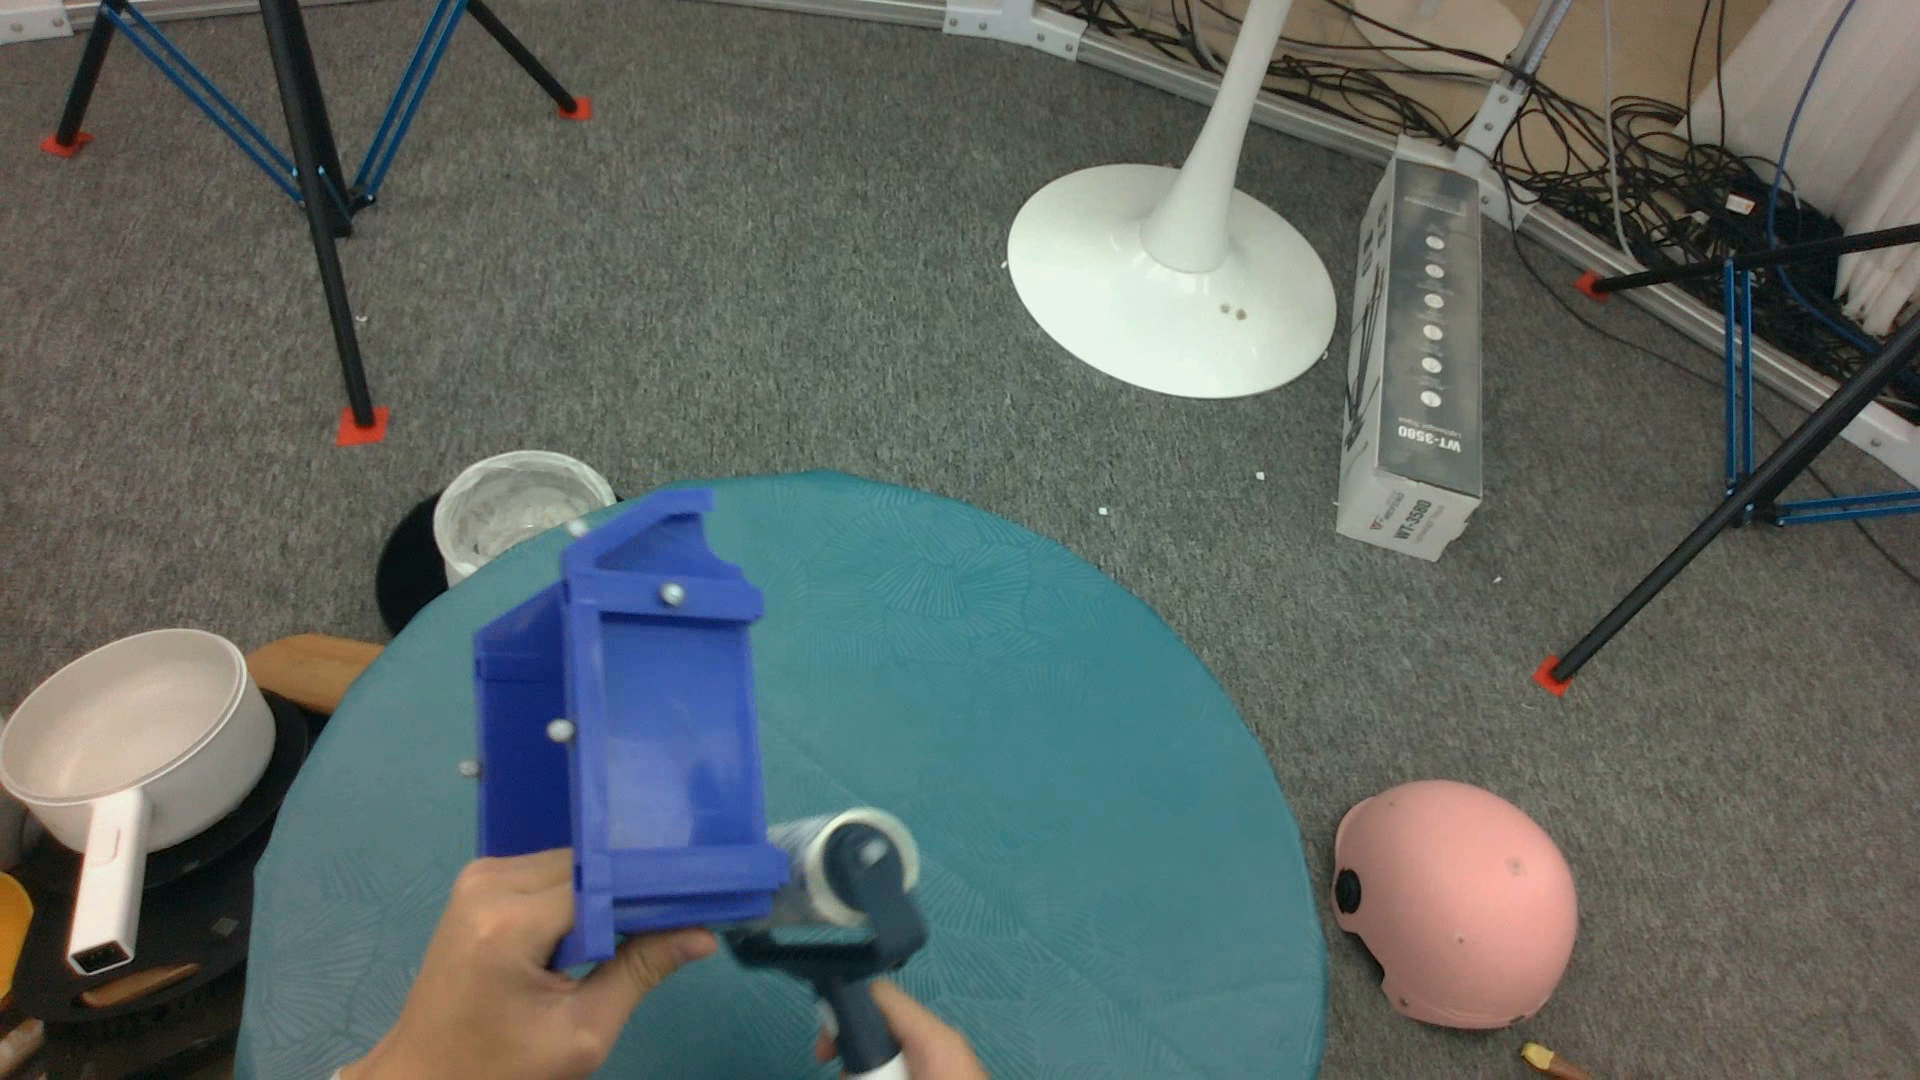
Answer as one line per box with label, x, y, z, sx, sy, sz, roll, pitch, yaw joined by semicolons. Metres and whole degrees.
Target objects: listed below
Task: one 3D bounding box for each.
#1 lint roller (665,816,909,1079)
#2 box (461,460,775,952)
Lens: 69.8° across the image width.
lint roller;-0.041;0.243;0.623;0.050;0.175;0.247;-28;92;-34
box;-0.148;0.069;0.573;0.082;0.124;0.180;4;69;-37
